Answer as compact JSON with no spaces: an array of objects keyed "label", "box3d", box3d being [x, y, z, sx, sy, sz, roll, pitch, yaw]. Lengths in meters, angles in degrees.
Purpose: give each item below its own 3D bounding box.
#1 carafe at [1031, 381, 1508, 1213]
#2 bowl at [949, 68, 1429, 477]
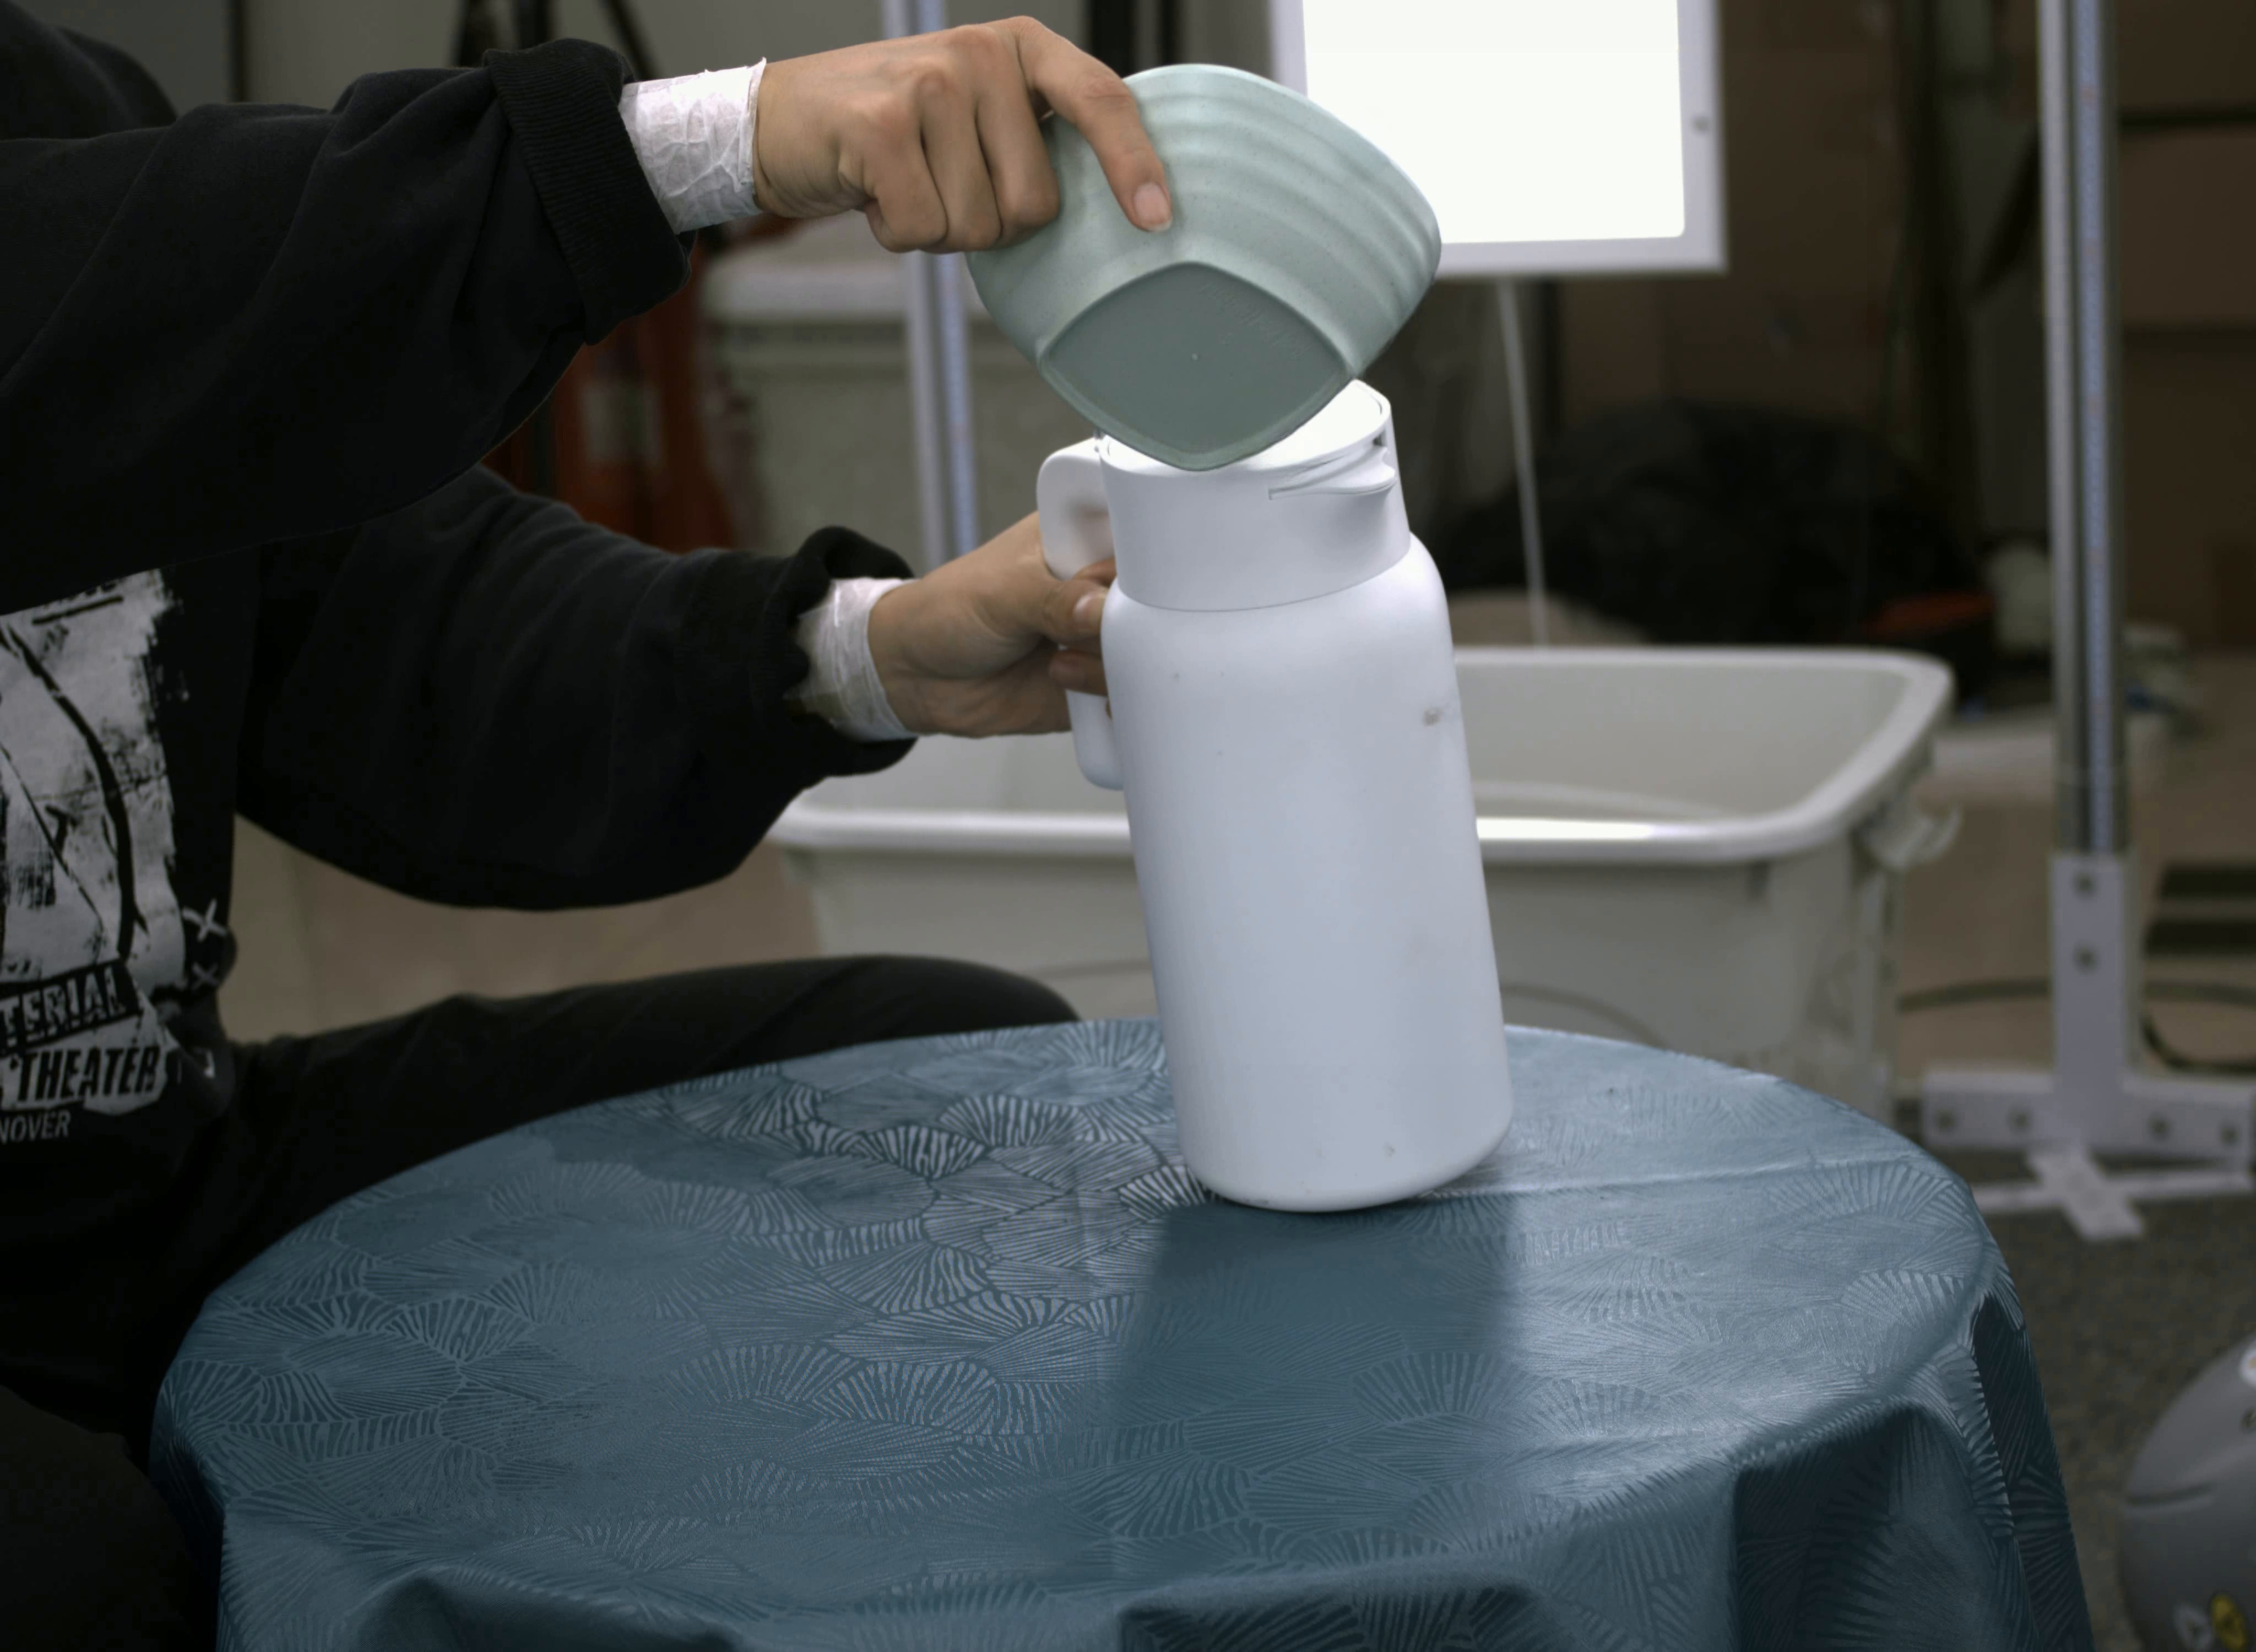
[{"label":"carafe","box3d":[0.045,-0.013,1.868,0.121,0.269,0.176,-27,27,-34]},{"label":"bowl","box3d":[0.019,-0.162,1.707,0.152,0.151,0.058,-2,52,8]}]
